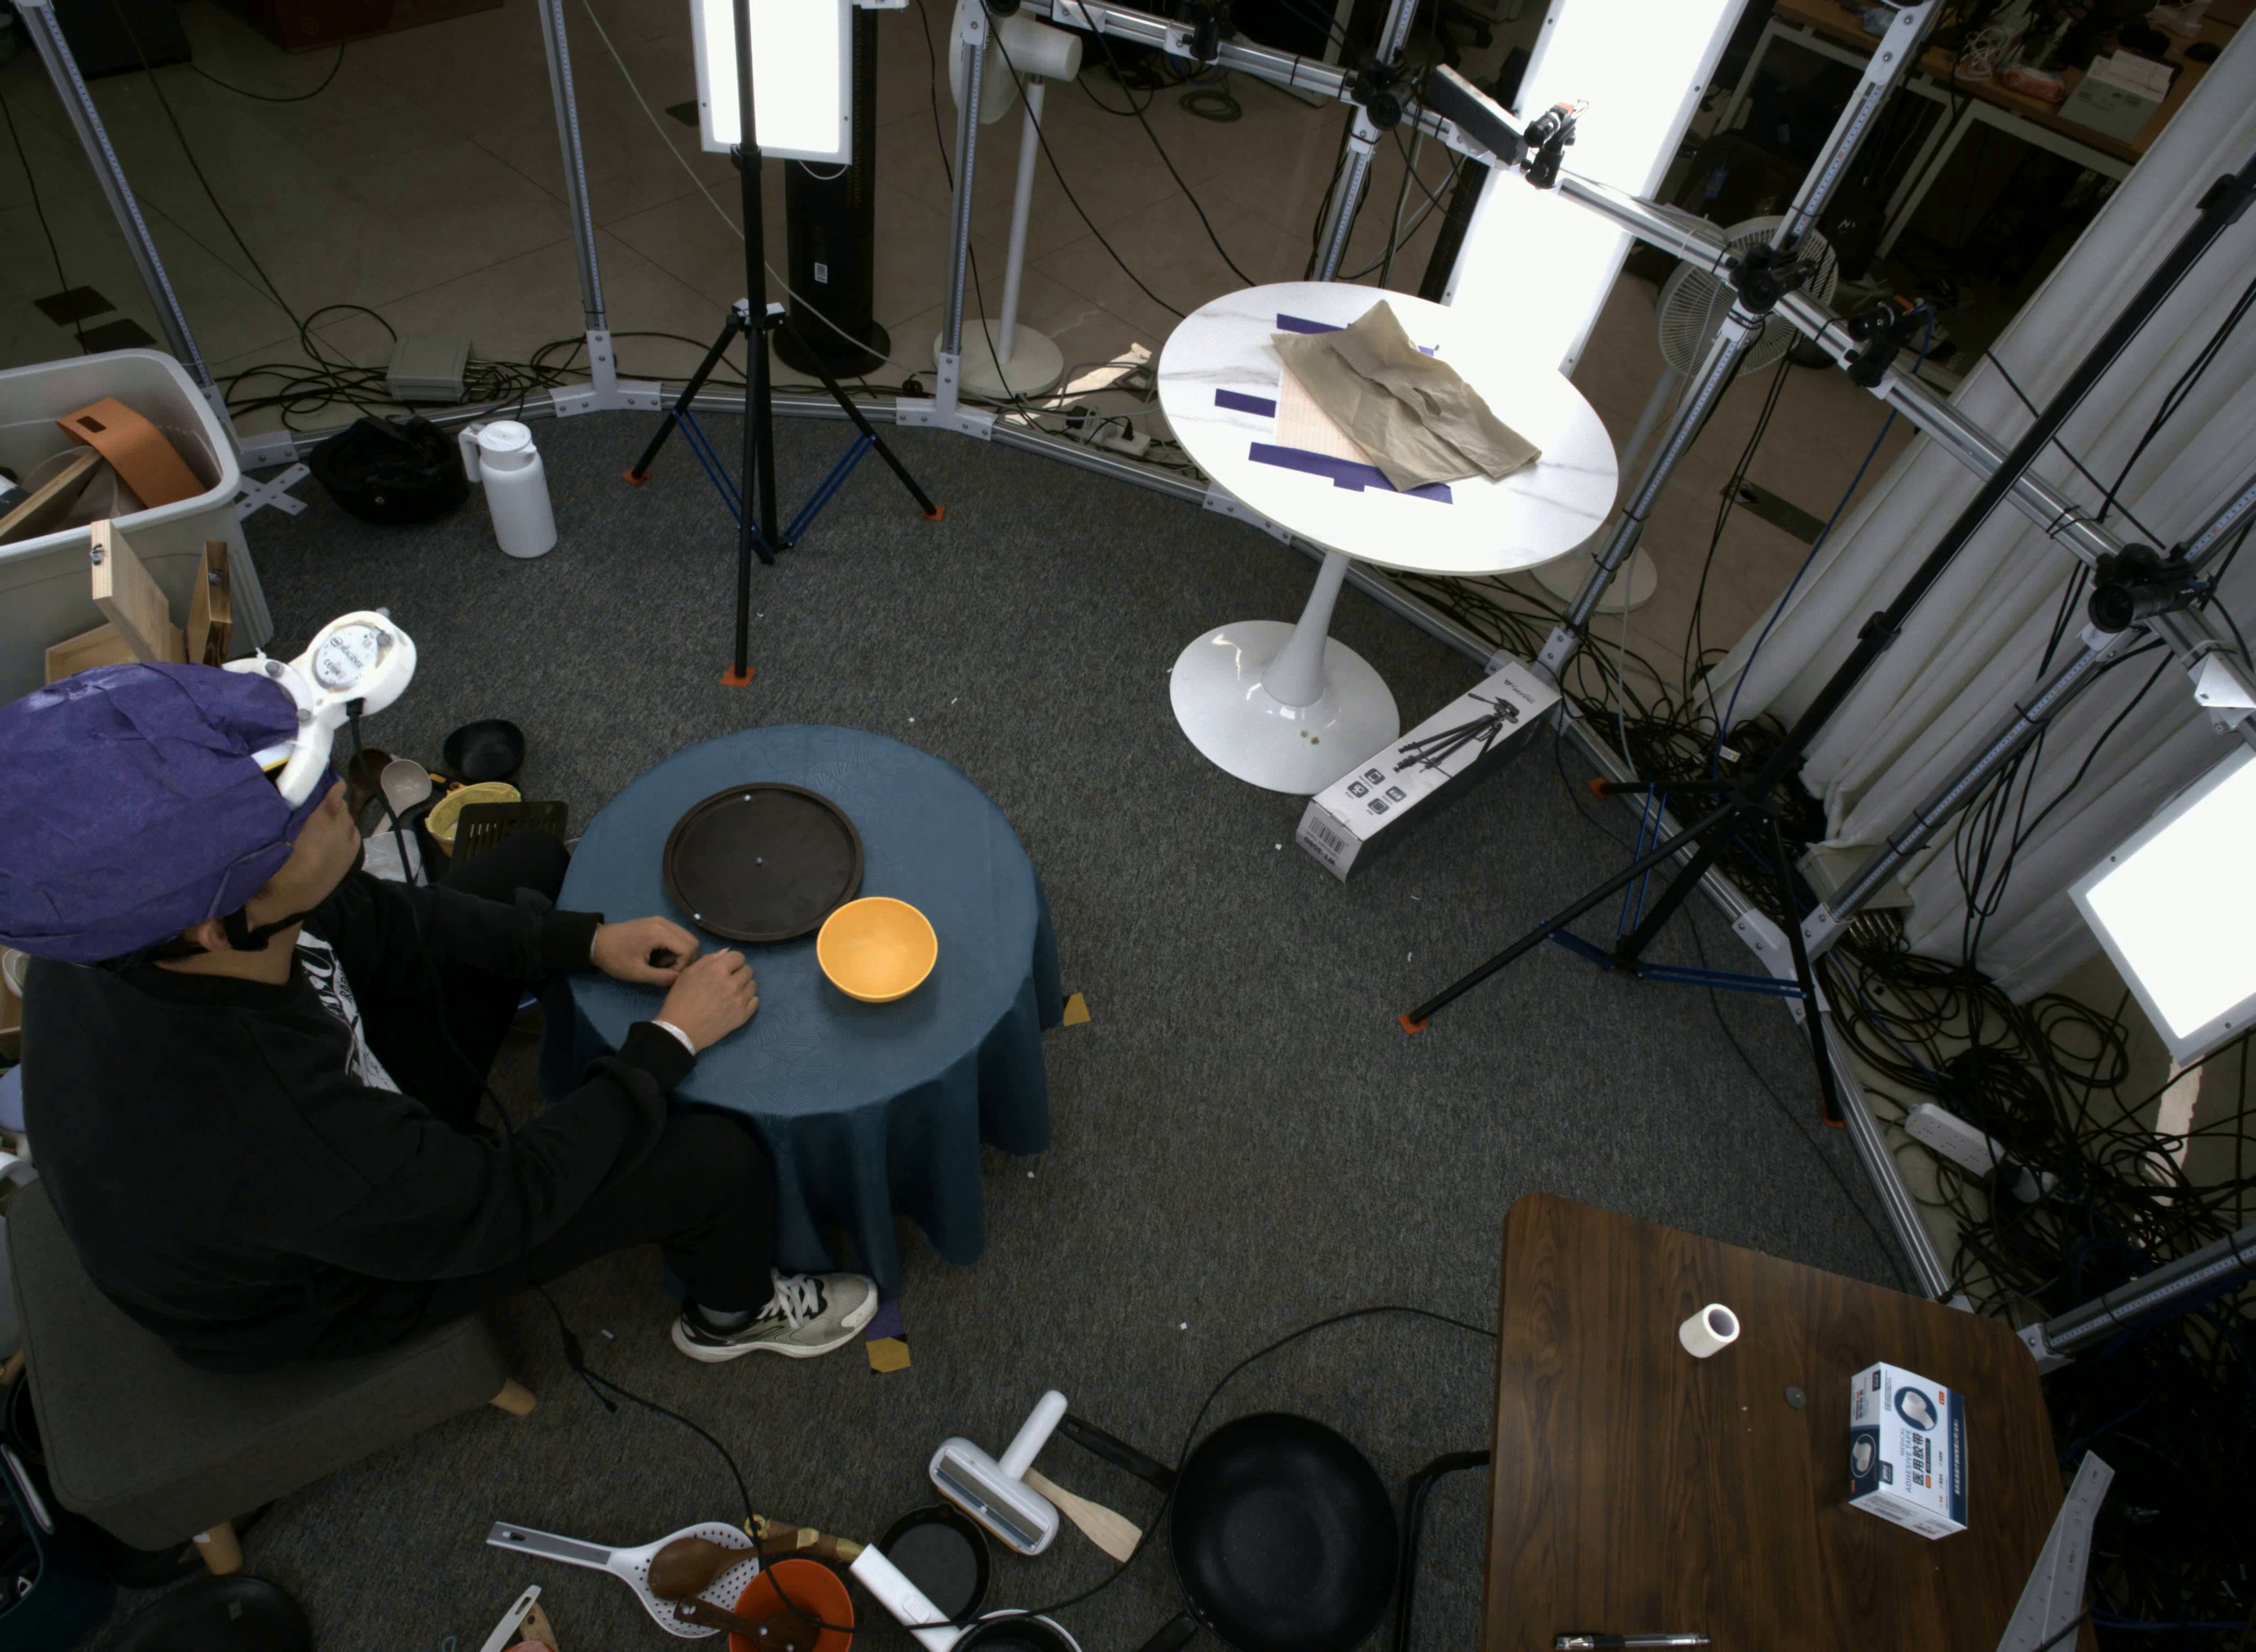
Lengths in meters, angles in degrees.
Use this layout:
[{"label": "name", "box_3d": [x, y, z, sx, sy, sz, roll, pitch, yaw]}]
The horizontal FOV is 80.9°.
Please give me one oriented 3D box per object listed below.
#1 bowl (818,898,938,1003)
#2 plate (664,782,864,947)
[{"label": "bowl", "box_3d": [-0.307, 0.162, 1.603, 0.144, 0.061, 0.143, 6, 53, -6]}, {"label": "plate", "box_3d": [-0.468, 0.047, 1.669, 0.254, 0.029, 0.250, 8, 54, -9]}]
